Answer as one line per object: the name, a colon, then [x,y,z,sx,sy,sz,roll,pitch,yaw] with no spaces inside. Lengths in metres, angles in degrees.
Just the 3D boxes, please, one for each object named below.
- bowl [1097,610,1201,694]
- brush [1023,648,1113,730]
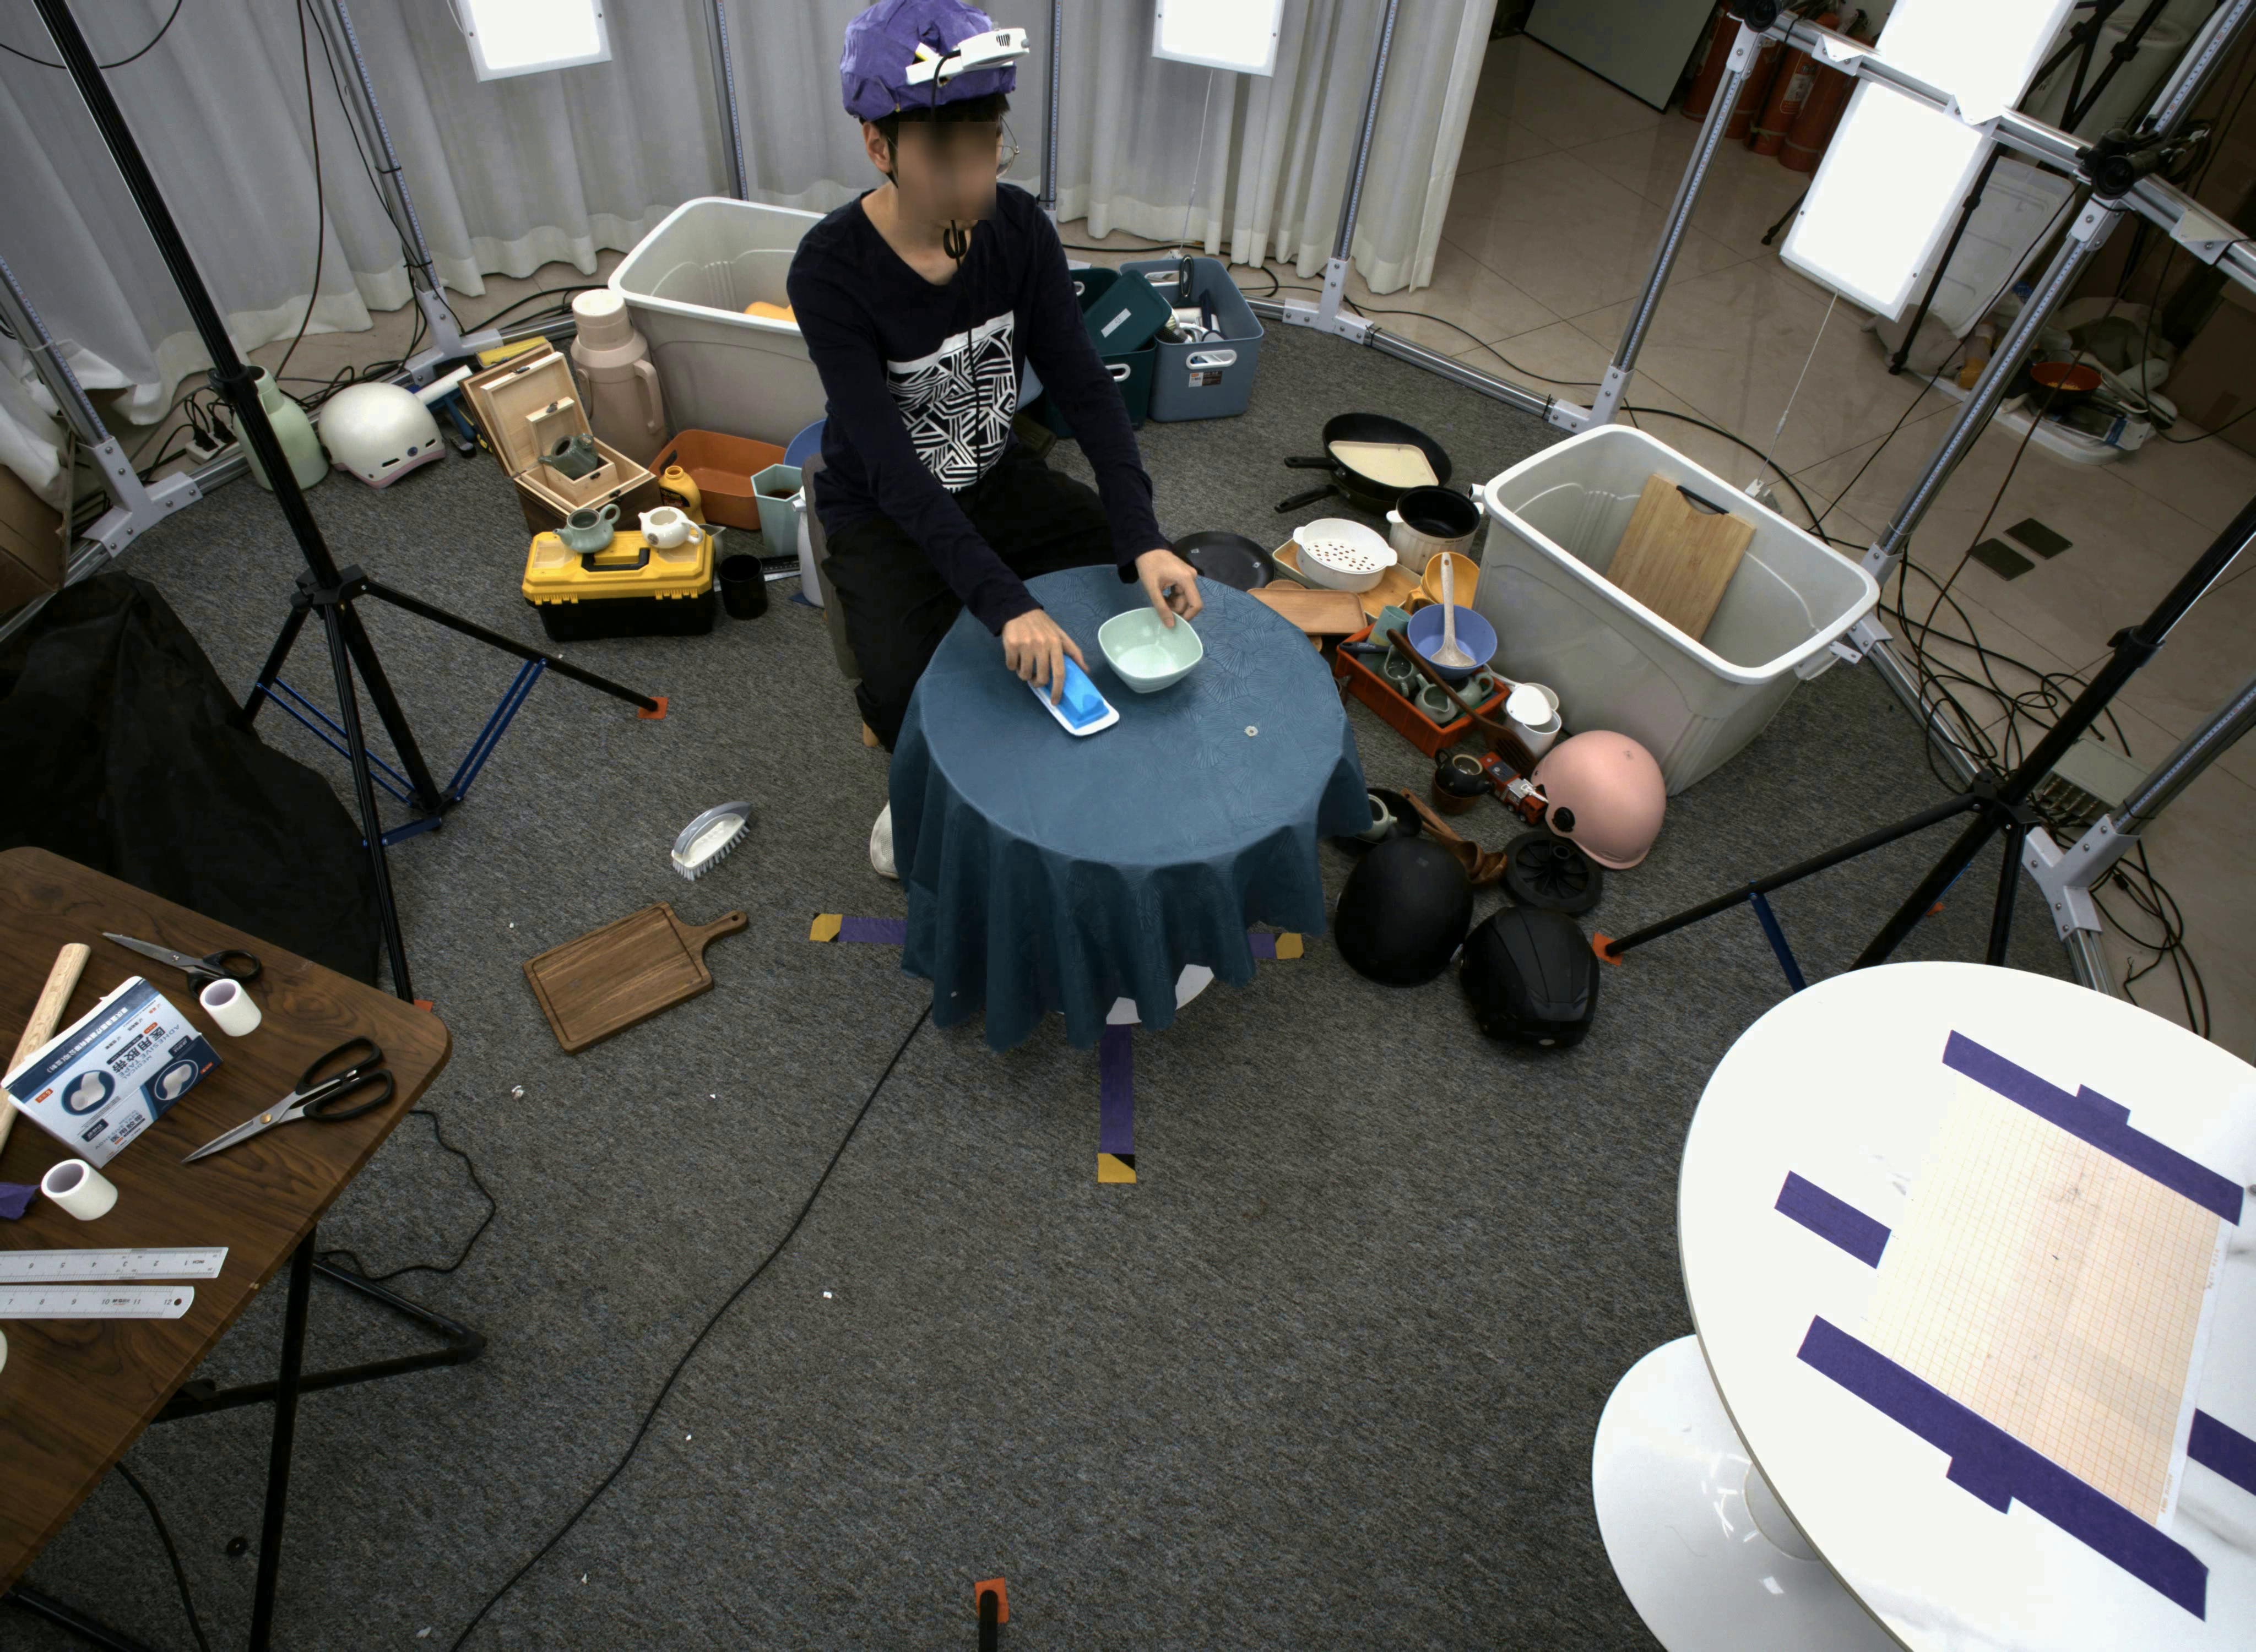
bowl: [0.028,-0.242,1.846,0.151,0.057,0.155,2,47,-3]
brush: [-0.082,-0.198,1.795,0.084,0.054,0.147,-20,54,-25]
